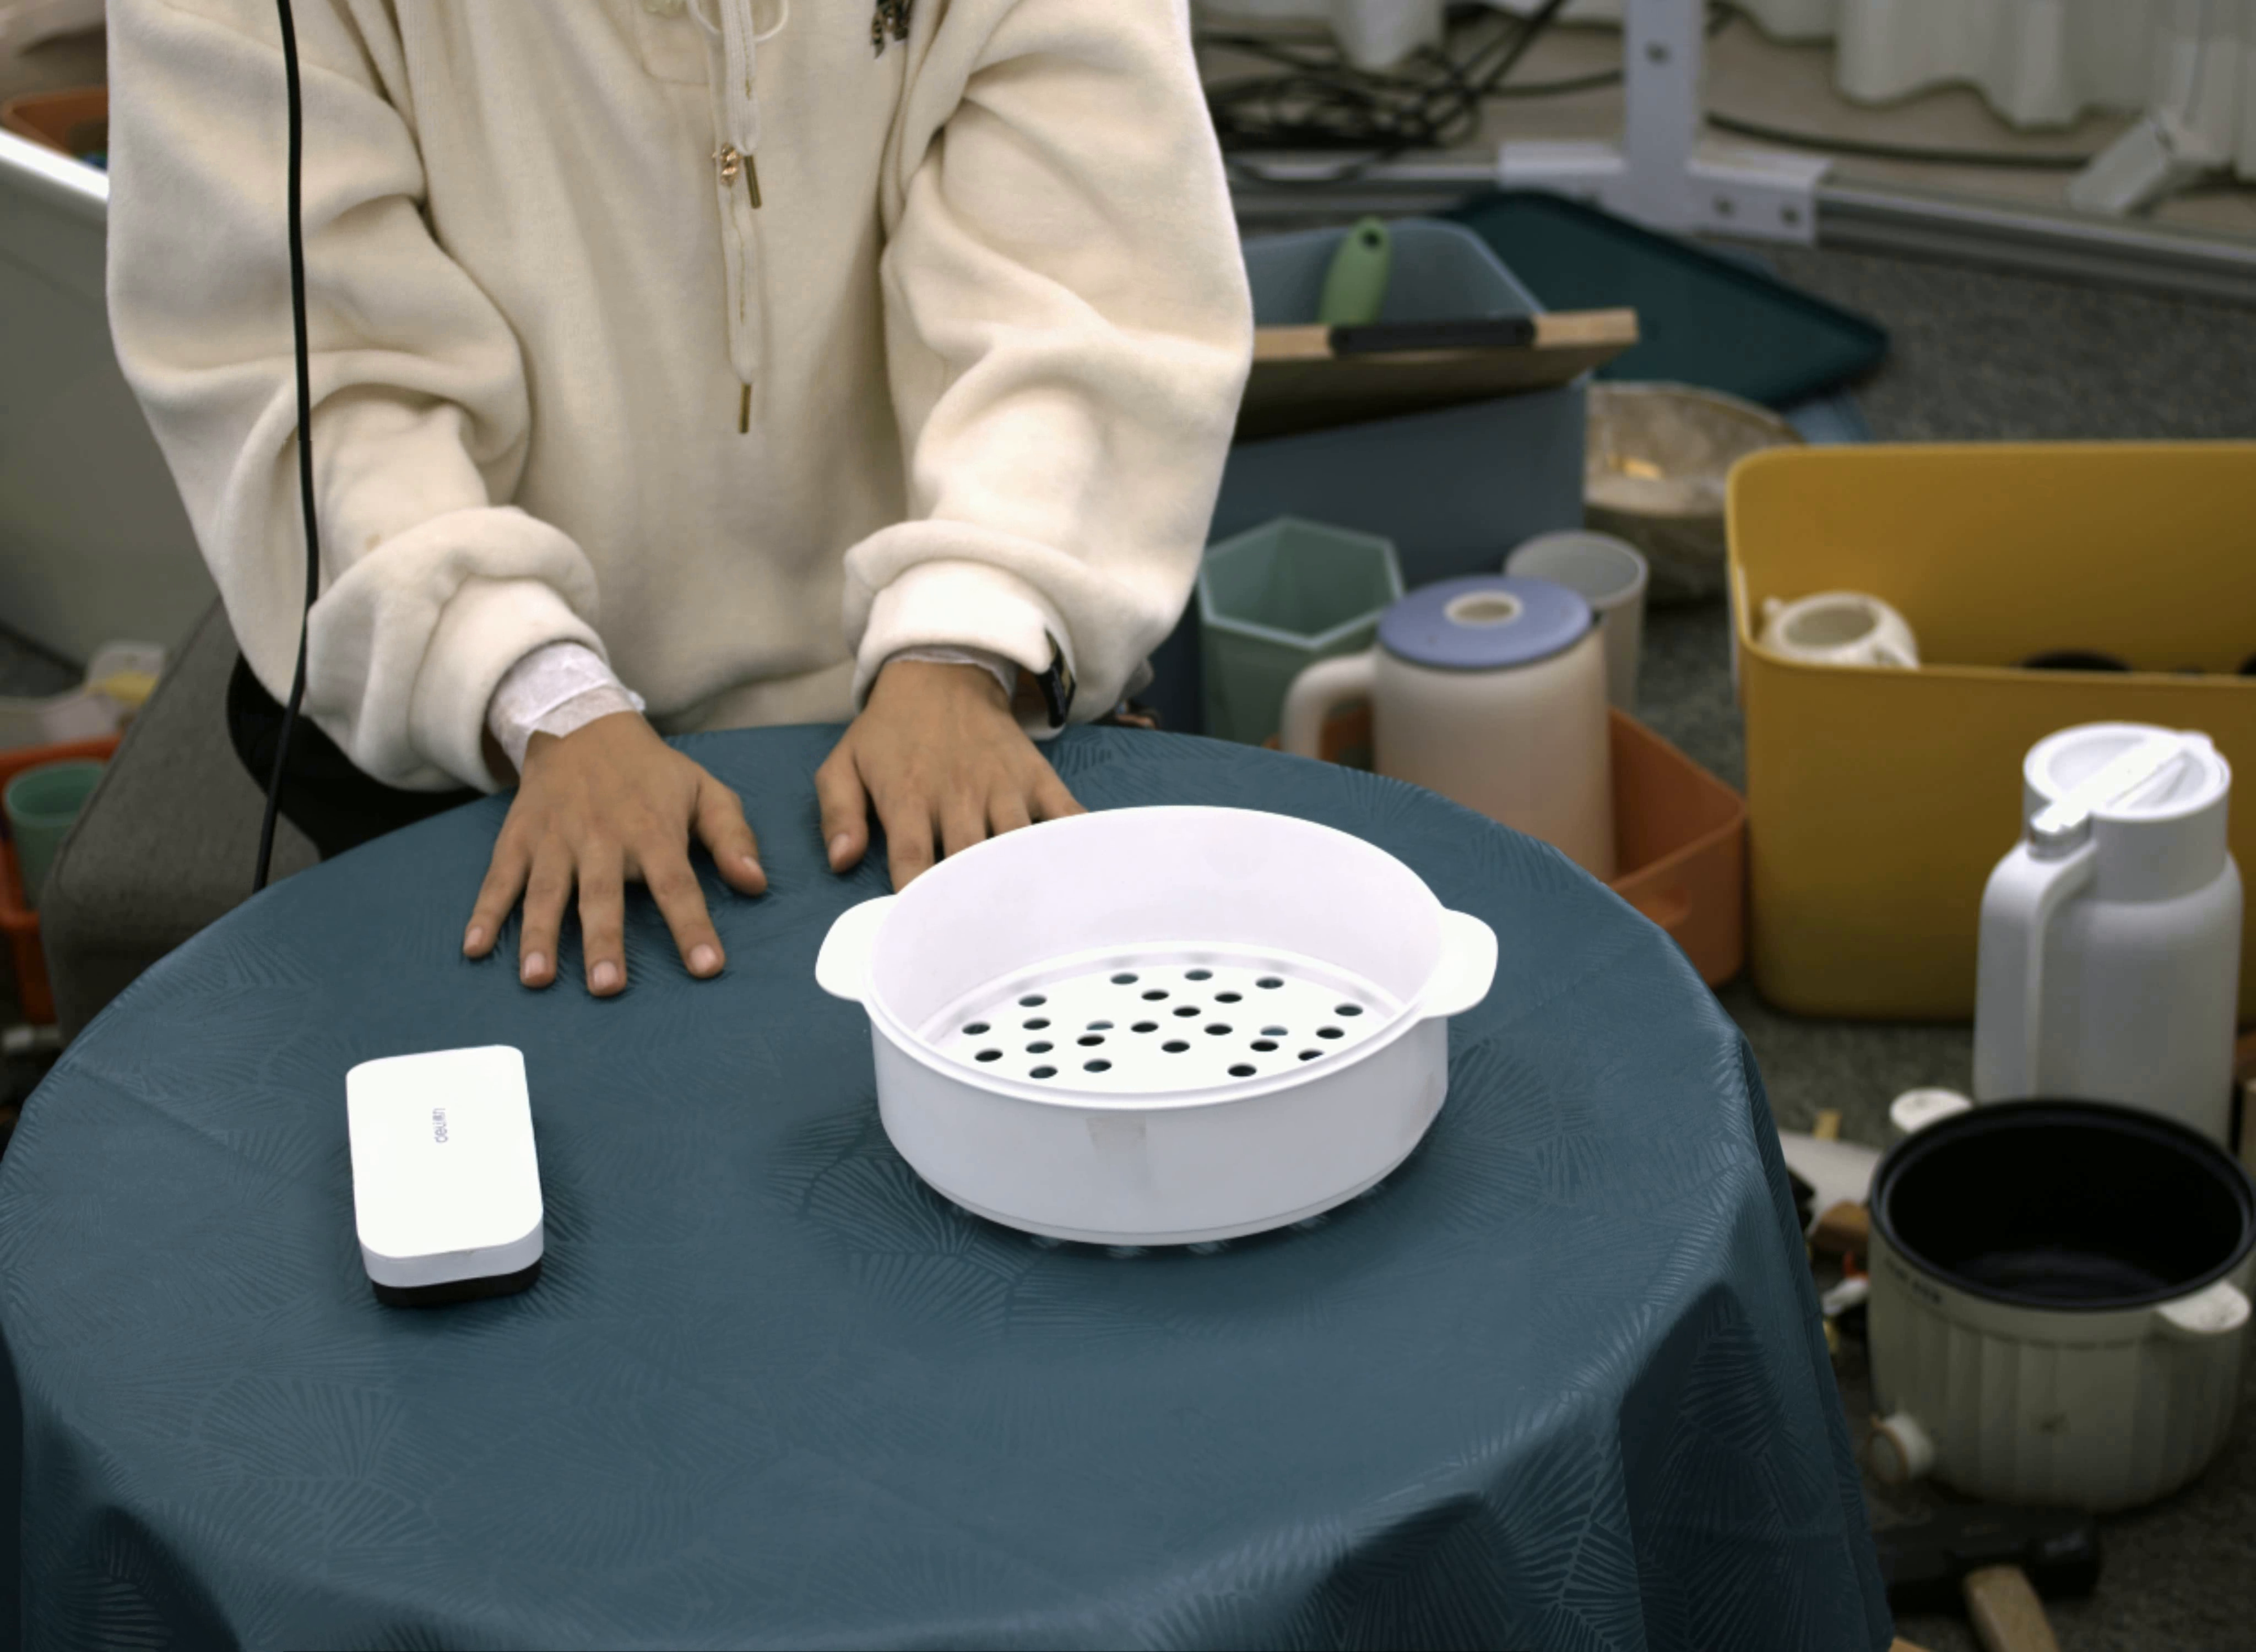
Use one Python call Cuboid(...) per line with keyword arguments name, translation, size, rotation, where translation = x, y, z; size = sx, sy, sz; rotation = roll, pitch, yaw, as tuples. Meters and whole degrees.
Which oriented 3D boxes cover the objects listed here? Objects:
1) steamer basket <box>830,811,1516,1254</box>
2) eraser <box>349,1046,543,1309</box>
Cuboid(name="steamer basket", translation=(0.016, 0.069, 1.890), size=(0.229, 0.068, 0.205), rotation=(2, 27, 8))
Cuboid(name="eraser", translation=(-0.226, 0.113, 1.867), size=(0.063, 0.034, 0.133), rotation=(-7, 28, -5))
